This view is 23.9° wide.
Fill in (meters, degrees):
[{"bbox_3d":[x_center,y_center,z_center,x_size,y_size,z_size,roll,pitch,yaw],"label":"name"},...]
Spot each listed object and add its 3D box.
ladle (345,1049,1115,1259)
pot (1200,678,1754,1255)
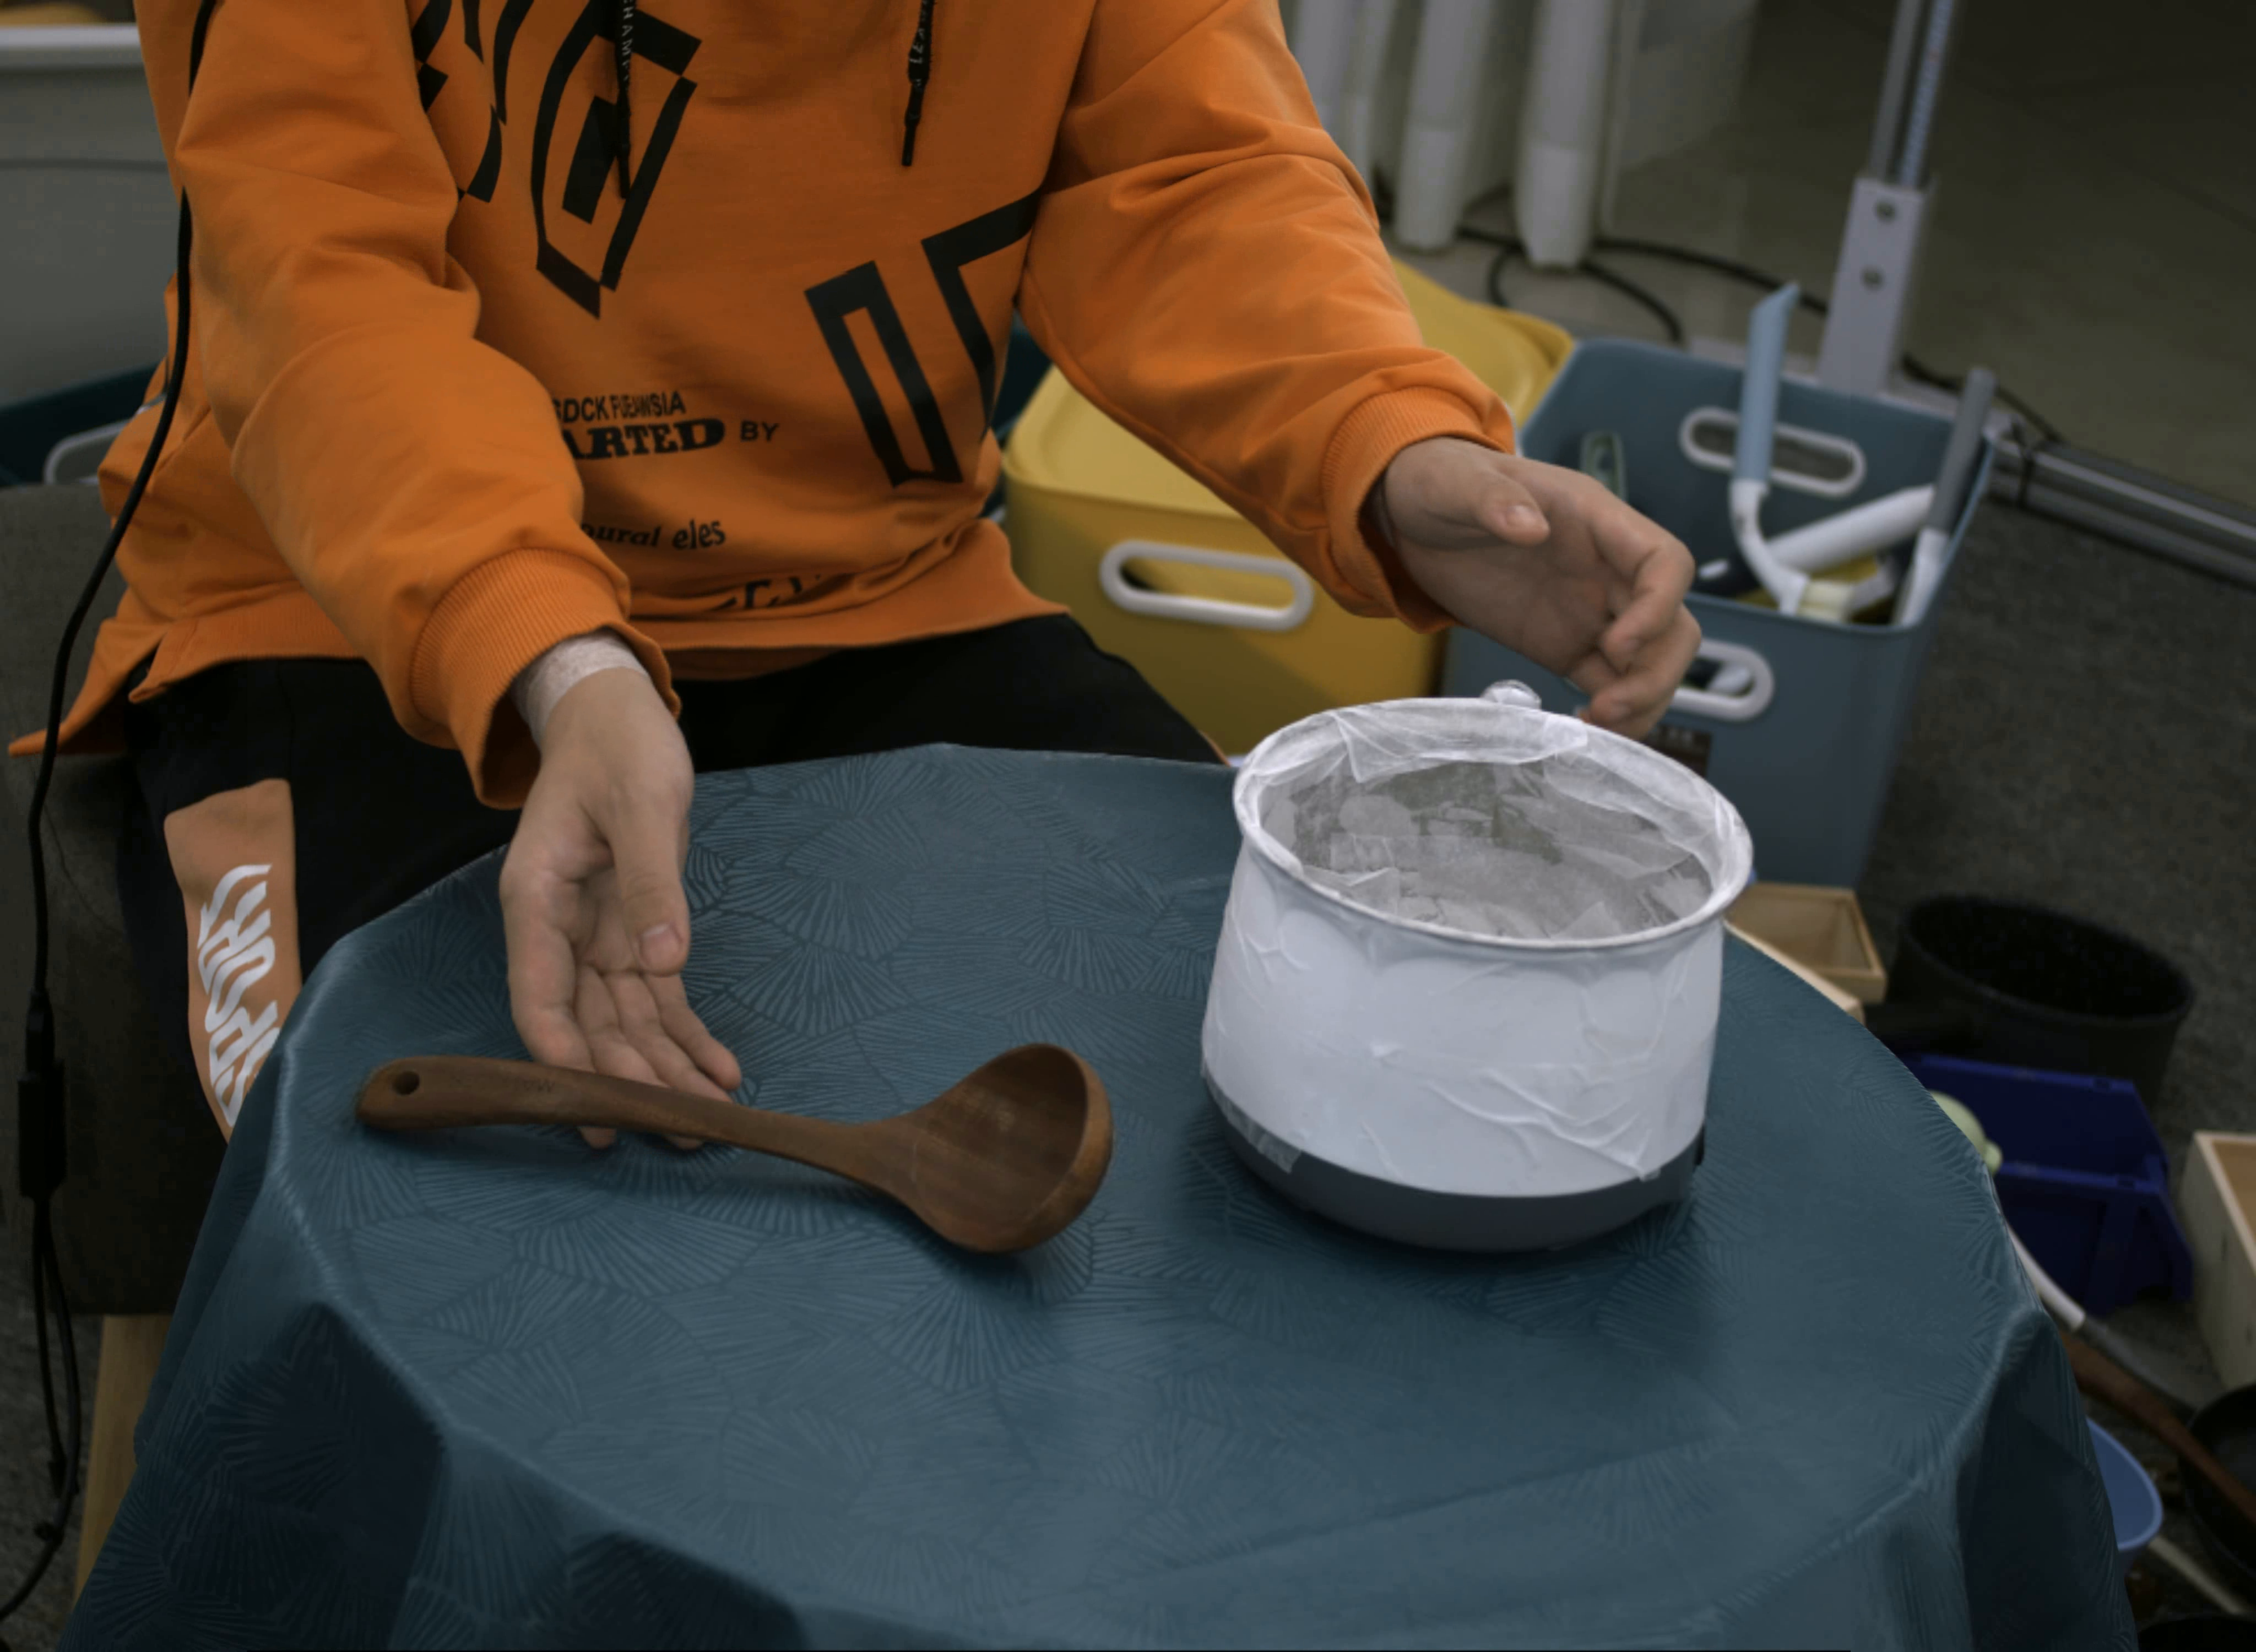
[{"bbox_3d":[-0.133,0.094,1.764,0.260,0.065,0.077,9,52,3],"label":"ladle"},{"bbox_3d":[0.119,0.040,1.841,0.178,0.136,0.235,8,27,3],"label":"pot"}]
